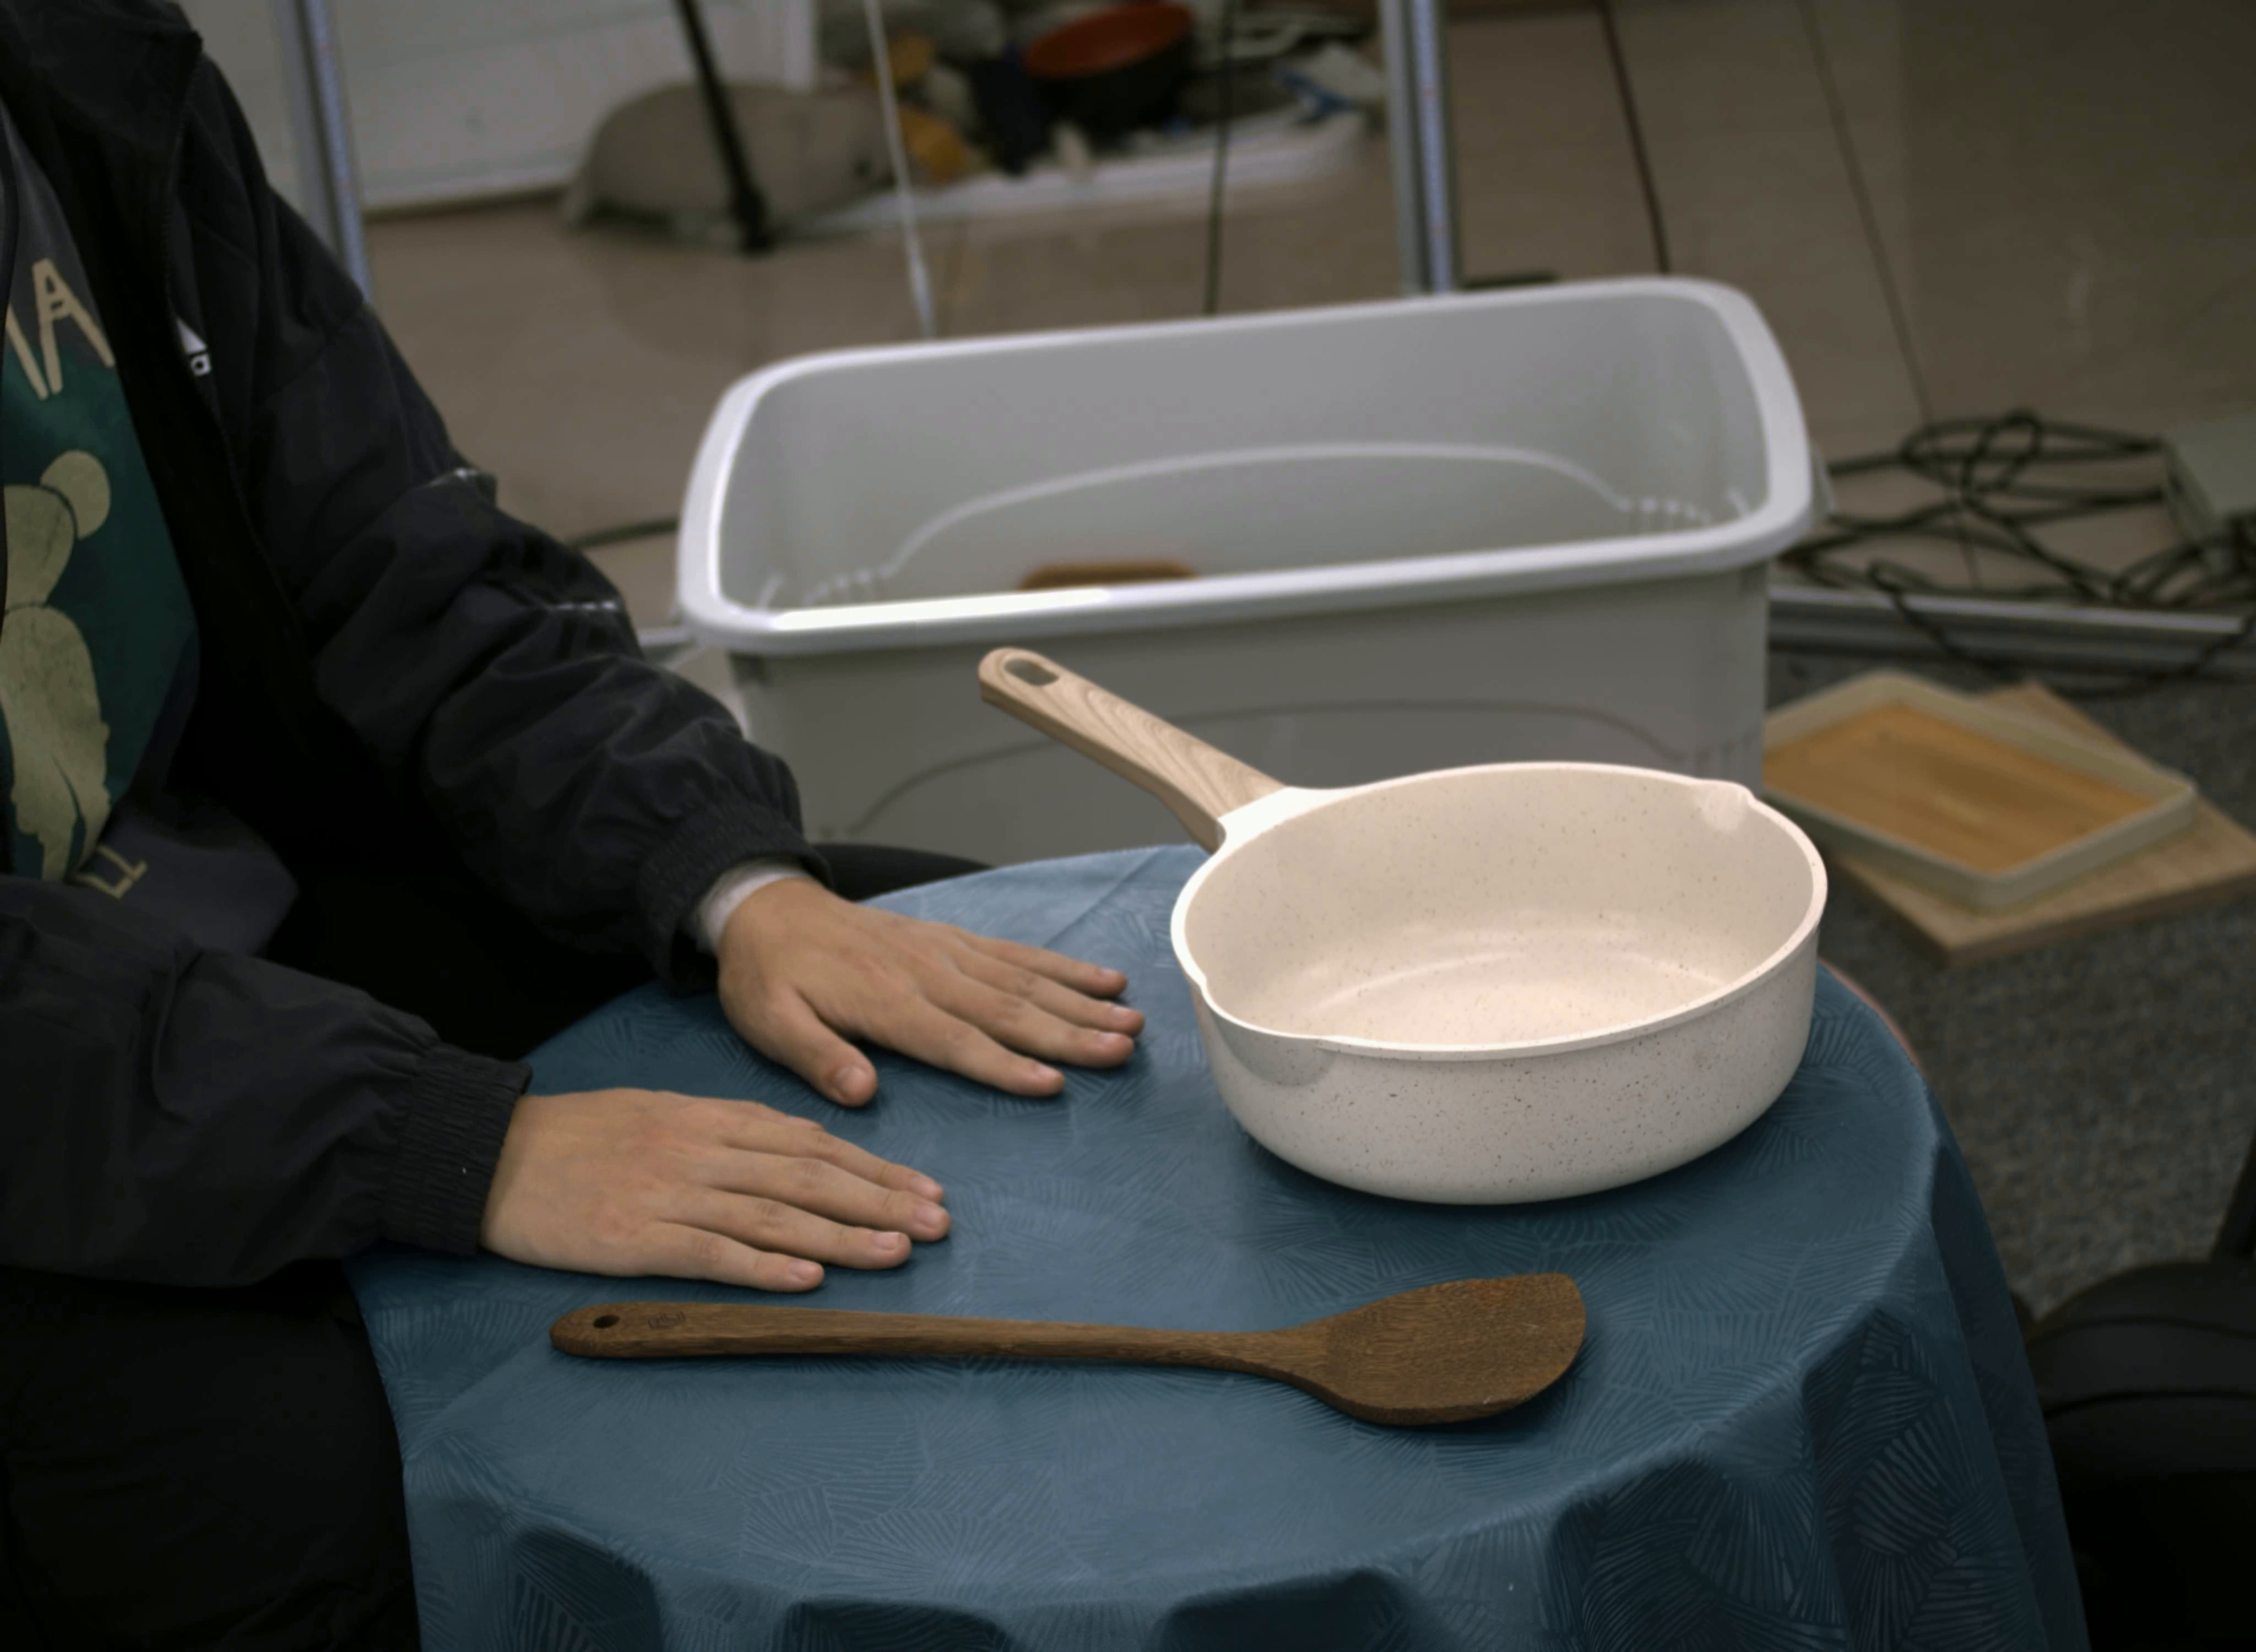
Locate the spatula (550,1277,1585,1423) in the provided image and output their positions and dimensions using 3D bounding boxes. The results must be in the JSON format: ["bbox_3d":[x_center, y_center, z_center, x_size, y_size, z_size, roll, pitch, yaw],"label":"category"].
[{"bbox_3d":[-0.027,0.184,2.038,0.385,0.016,0.095,0,25,15],"label":"spatula"}]

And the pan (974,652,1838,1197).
[{"bbox_3d":[0.089,0.029,2.238,0.261,0.103,0.431,-26,31,-32],"label":"pan"}]
